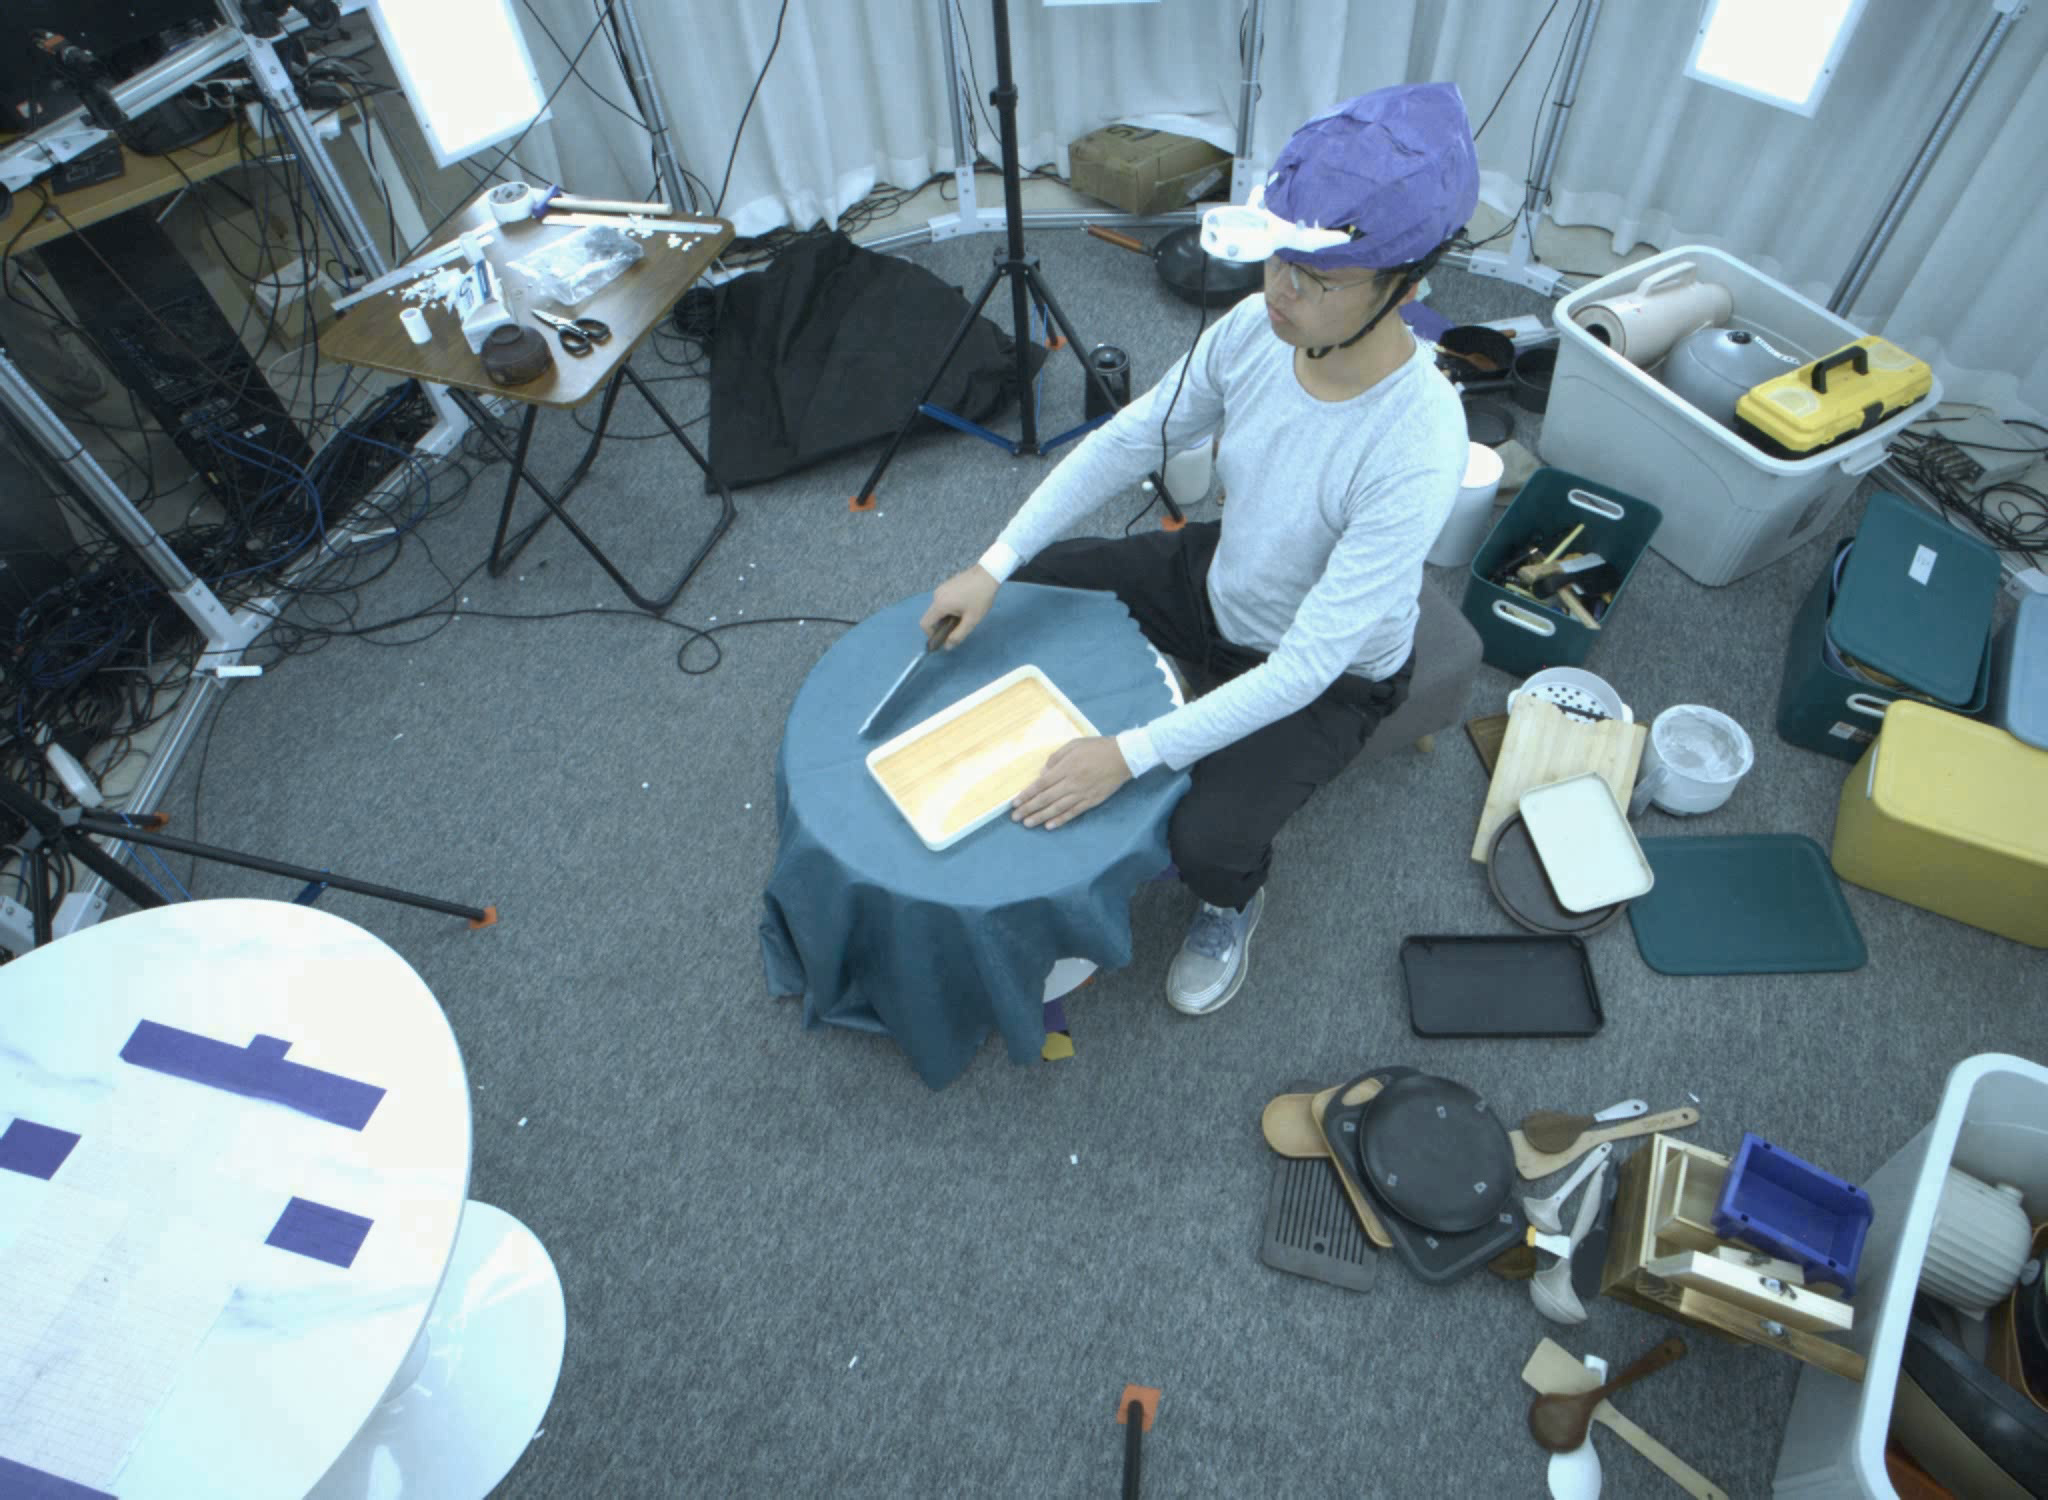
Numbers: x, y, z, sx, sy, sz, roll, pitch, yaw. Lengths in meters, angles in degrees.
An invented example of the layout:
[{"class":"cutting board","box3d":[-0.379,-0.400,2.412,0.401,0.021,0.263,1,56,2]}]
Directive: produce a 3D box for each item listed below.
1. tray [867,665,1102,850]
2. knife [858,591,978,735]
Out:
[{"class":"tray","box3d":[-0.056,0.006,1.776,0.303,0.028,0.188,-31,59,-19]},{"class":"knife","box3d":[-0.161,-0.132,1.849,0.020,0.049,0.290,44,71,-18]}]
